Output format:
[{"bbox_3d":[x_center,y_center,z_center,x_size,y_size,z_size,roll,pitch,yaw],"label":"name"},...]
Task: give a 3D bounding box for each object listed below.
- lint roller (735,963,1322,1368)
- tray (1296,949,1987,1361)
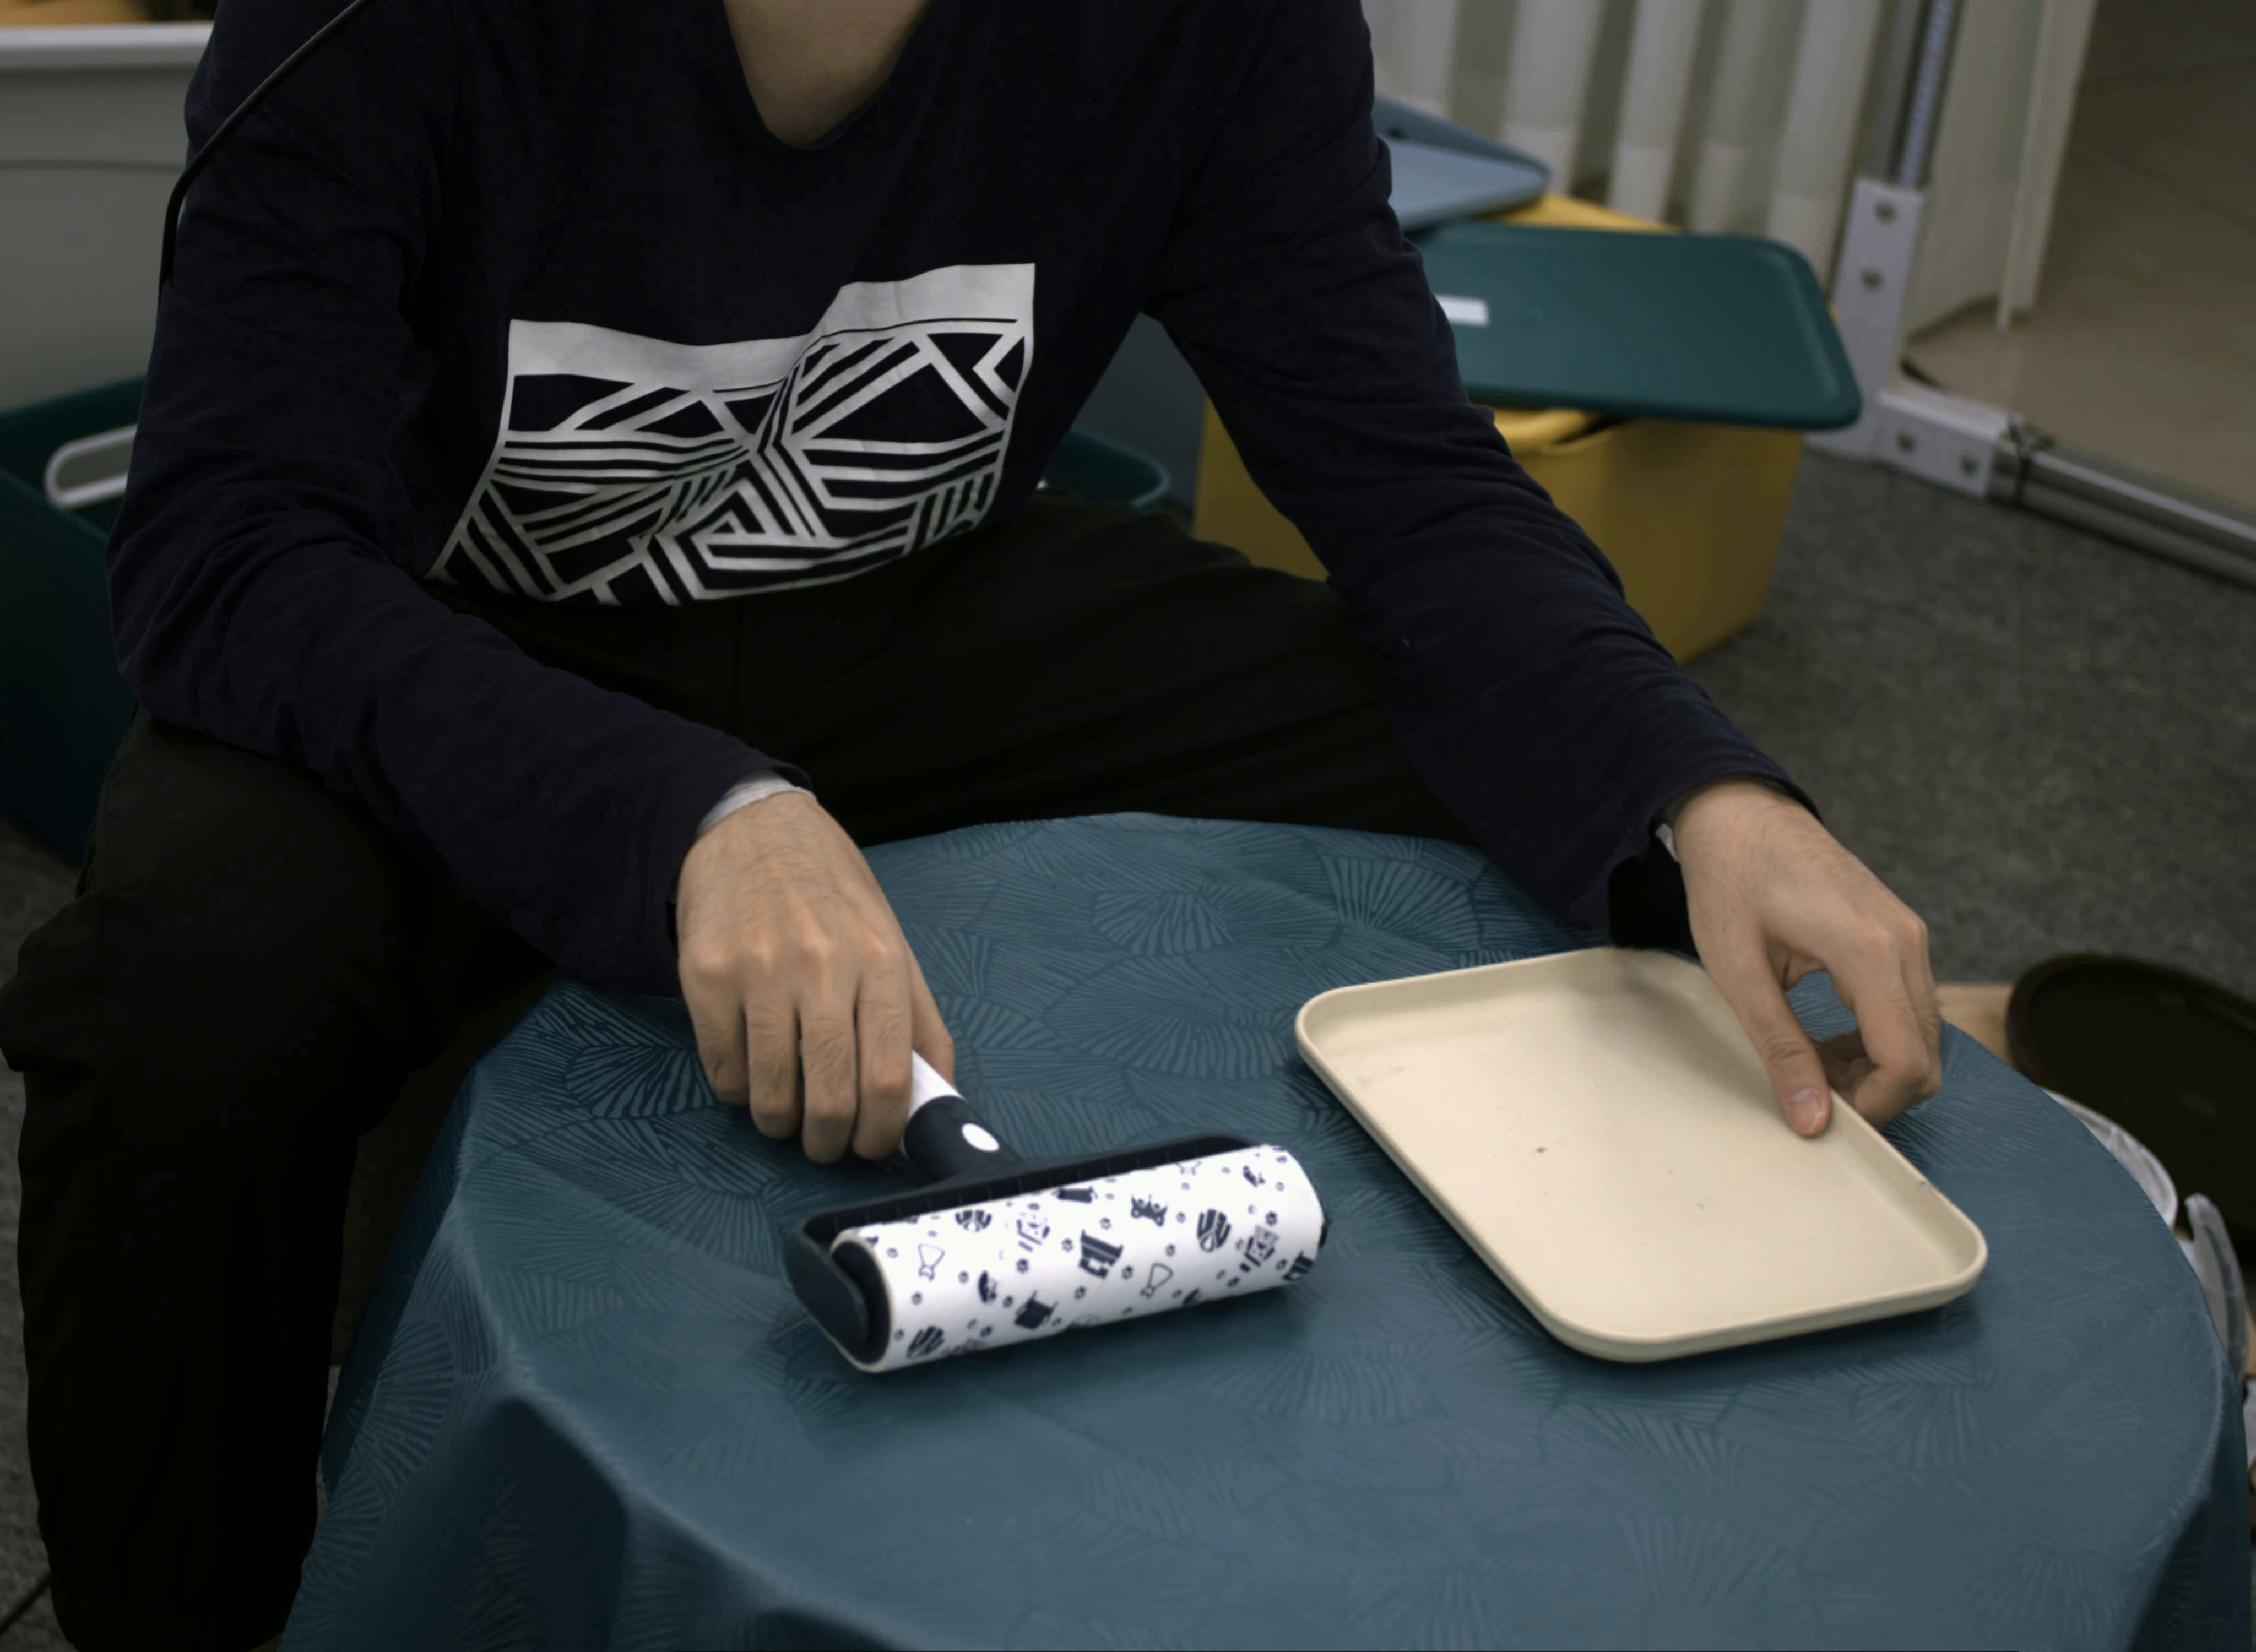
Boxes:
[{"bbox_3d":[-0.071,0.098,1.797,0.175,0.050,0.249,-11,29,-29],"label":"lint roller"},{"bbox_3d":[0.174,0.112,1.845,0.170,0.017,0.242,-7,30,-23],"label":"tray"}]
